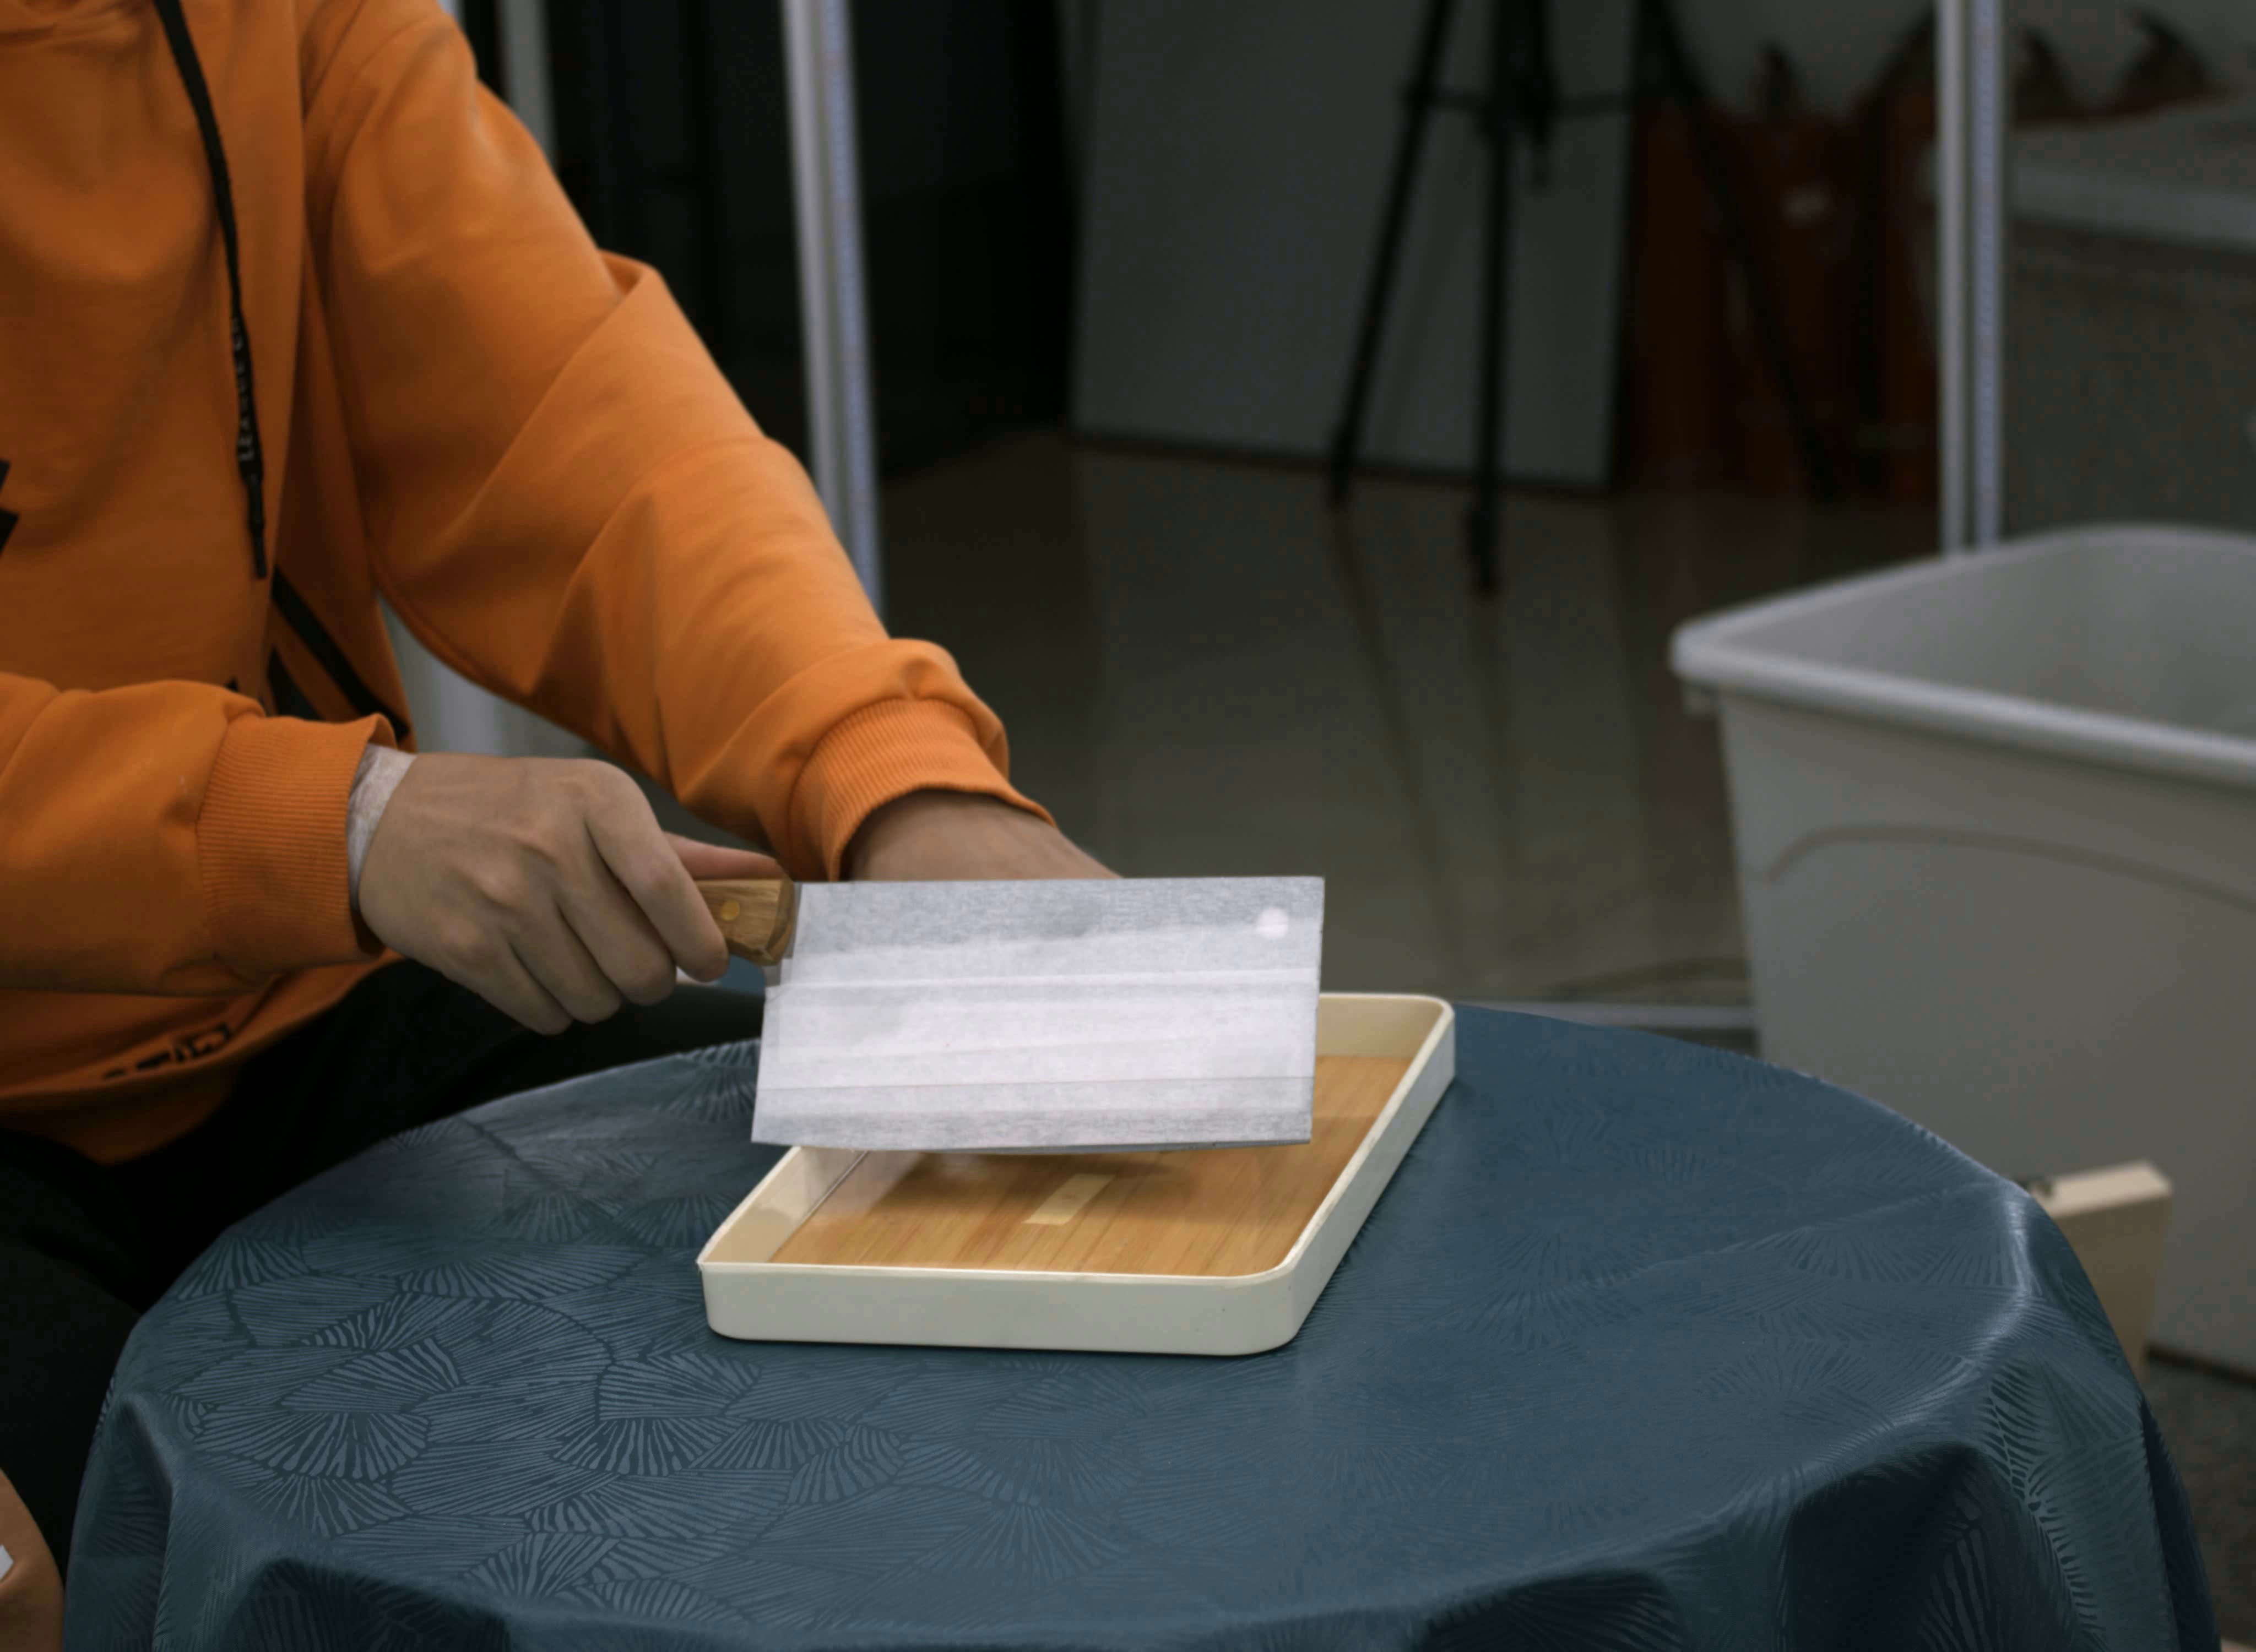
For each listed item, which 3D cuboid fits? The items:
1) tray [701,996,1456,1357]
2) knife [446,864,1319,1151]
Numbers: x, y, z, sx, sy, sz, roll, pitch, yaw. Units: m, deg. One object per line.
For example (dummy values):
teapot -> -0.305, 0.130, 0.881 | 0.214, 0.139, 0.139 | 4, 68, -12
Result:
tray -> -0.008, 0.110, 1.762 | 0.191, 0.028, 0.298 | 0, 15, 15
knife -> -0.084, 0.060, 1.761 | 0.305, 0.094, 0.021 | -2, -16, 18
